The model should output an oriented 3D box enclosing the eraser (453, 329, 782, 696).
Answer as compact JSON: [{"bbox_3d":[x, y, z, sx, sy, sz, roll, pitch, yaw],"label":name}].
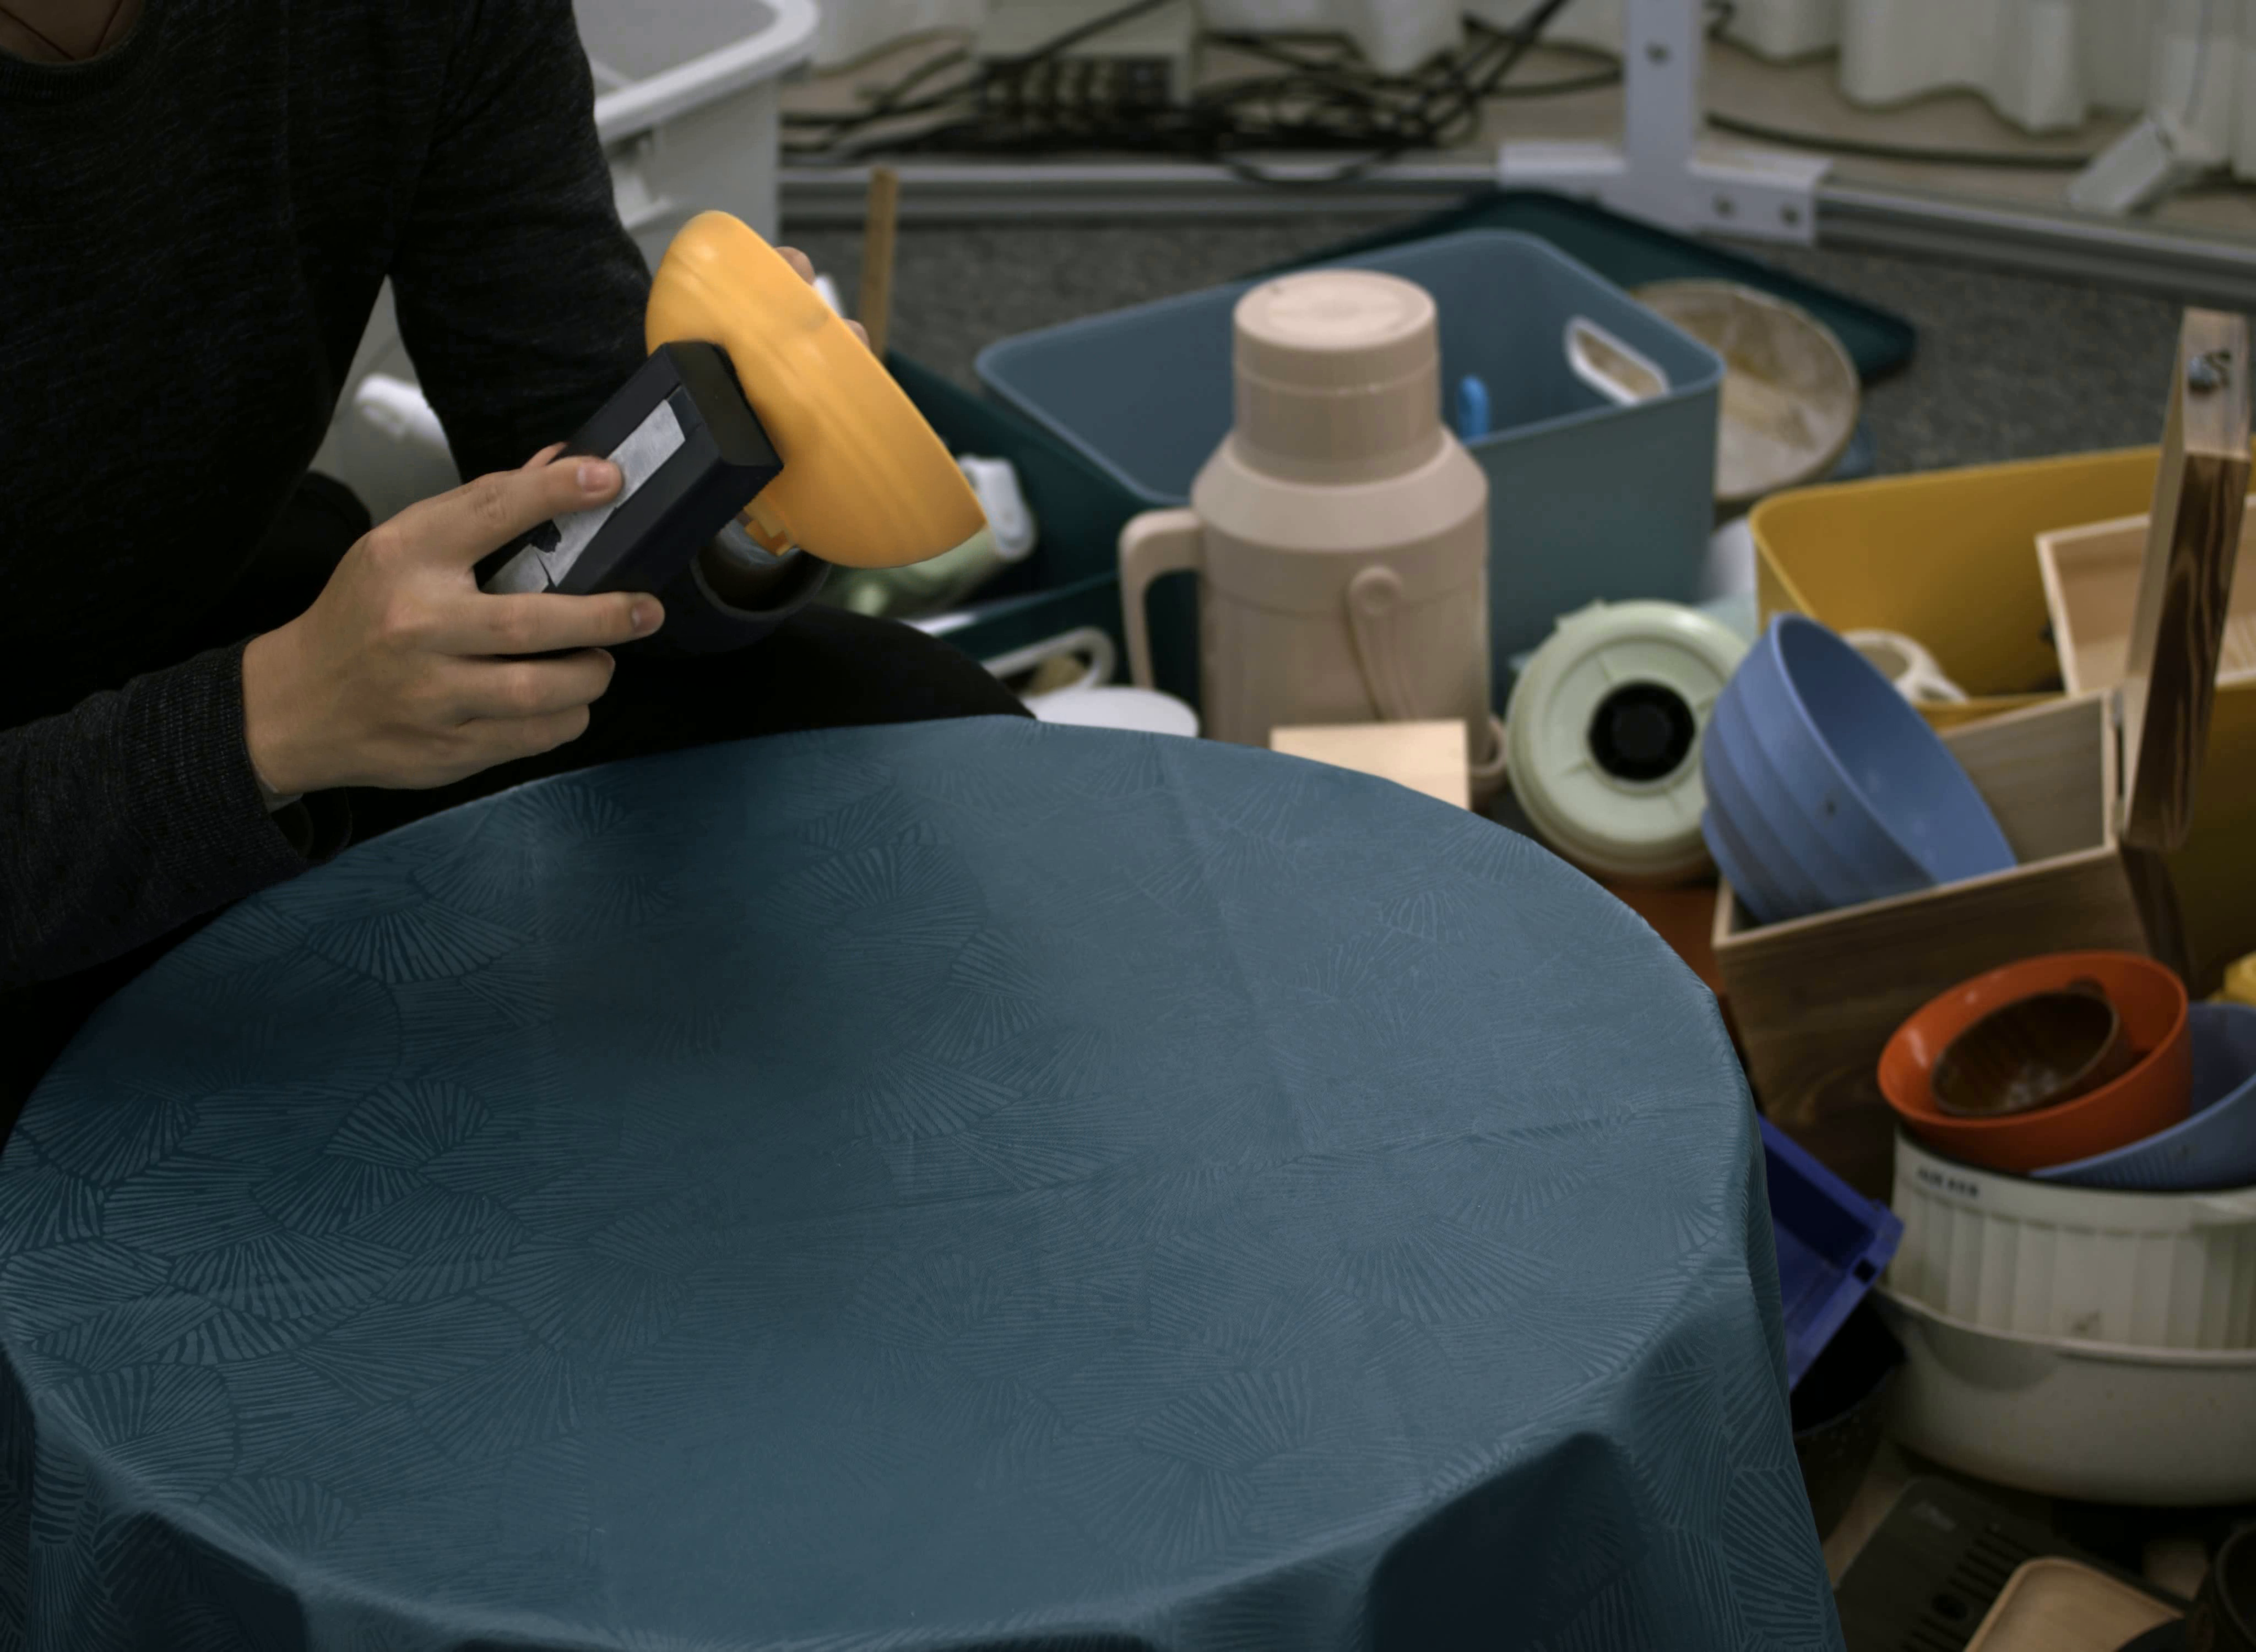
[{"bbox_3d":[-0.164,-0.100,1.807,0.030,0.124,0.054,6,47,-51],"label":"eraser"}]

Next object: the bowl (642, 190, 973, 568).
[{"bbox_3d":[-0.118,-0.134,1.856,0.060,0.144,0.146,-39,35,-6],"label":"bowl"}]
